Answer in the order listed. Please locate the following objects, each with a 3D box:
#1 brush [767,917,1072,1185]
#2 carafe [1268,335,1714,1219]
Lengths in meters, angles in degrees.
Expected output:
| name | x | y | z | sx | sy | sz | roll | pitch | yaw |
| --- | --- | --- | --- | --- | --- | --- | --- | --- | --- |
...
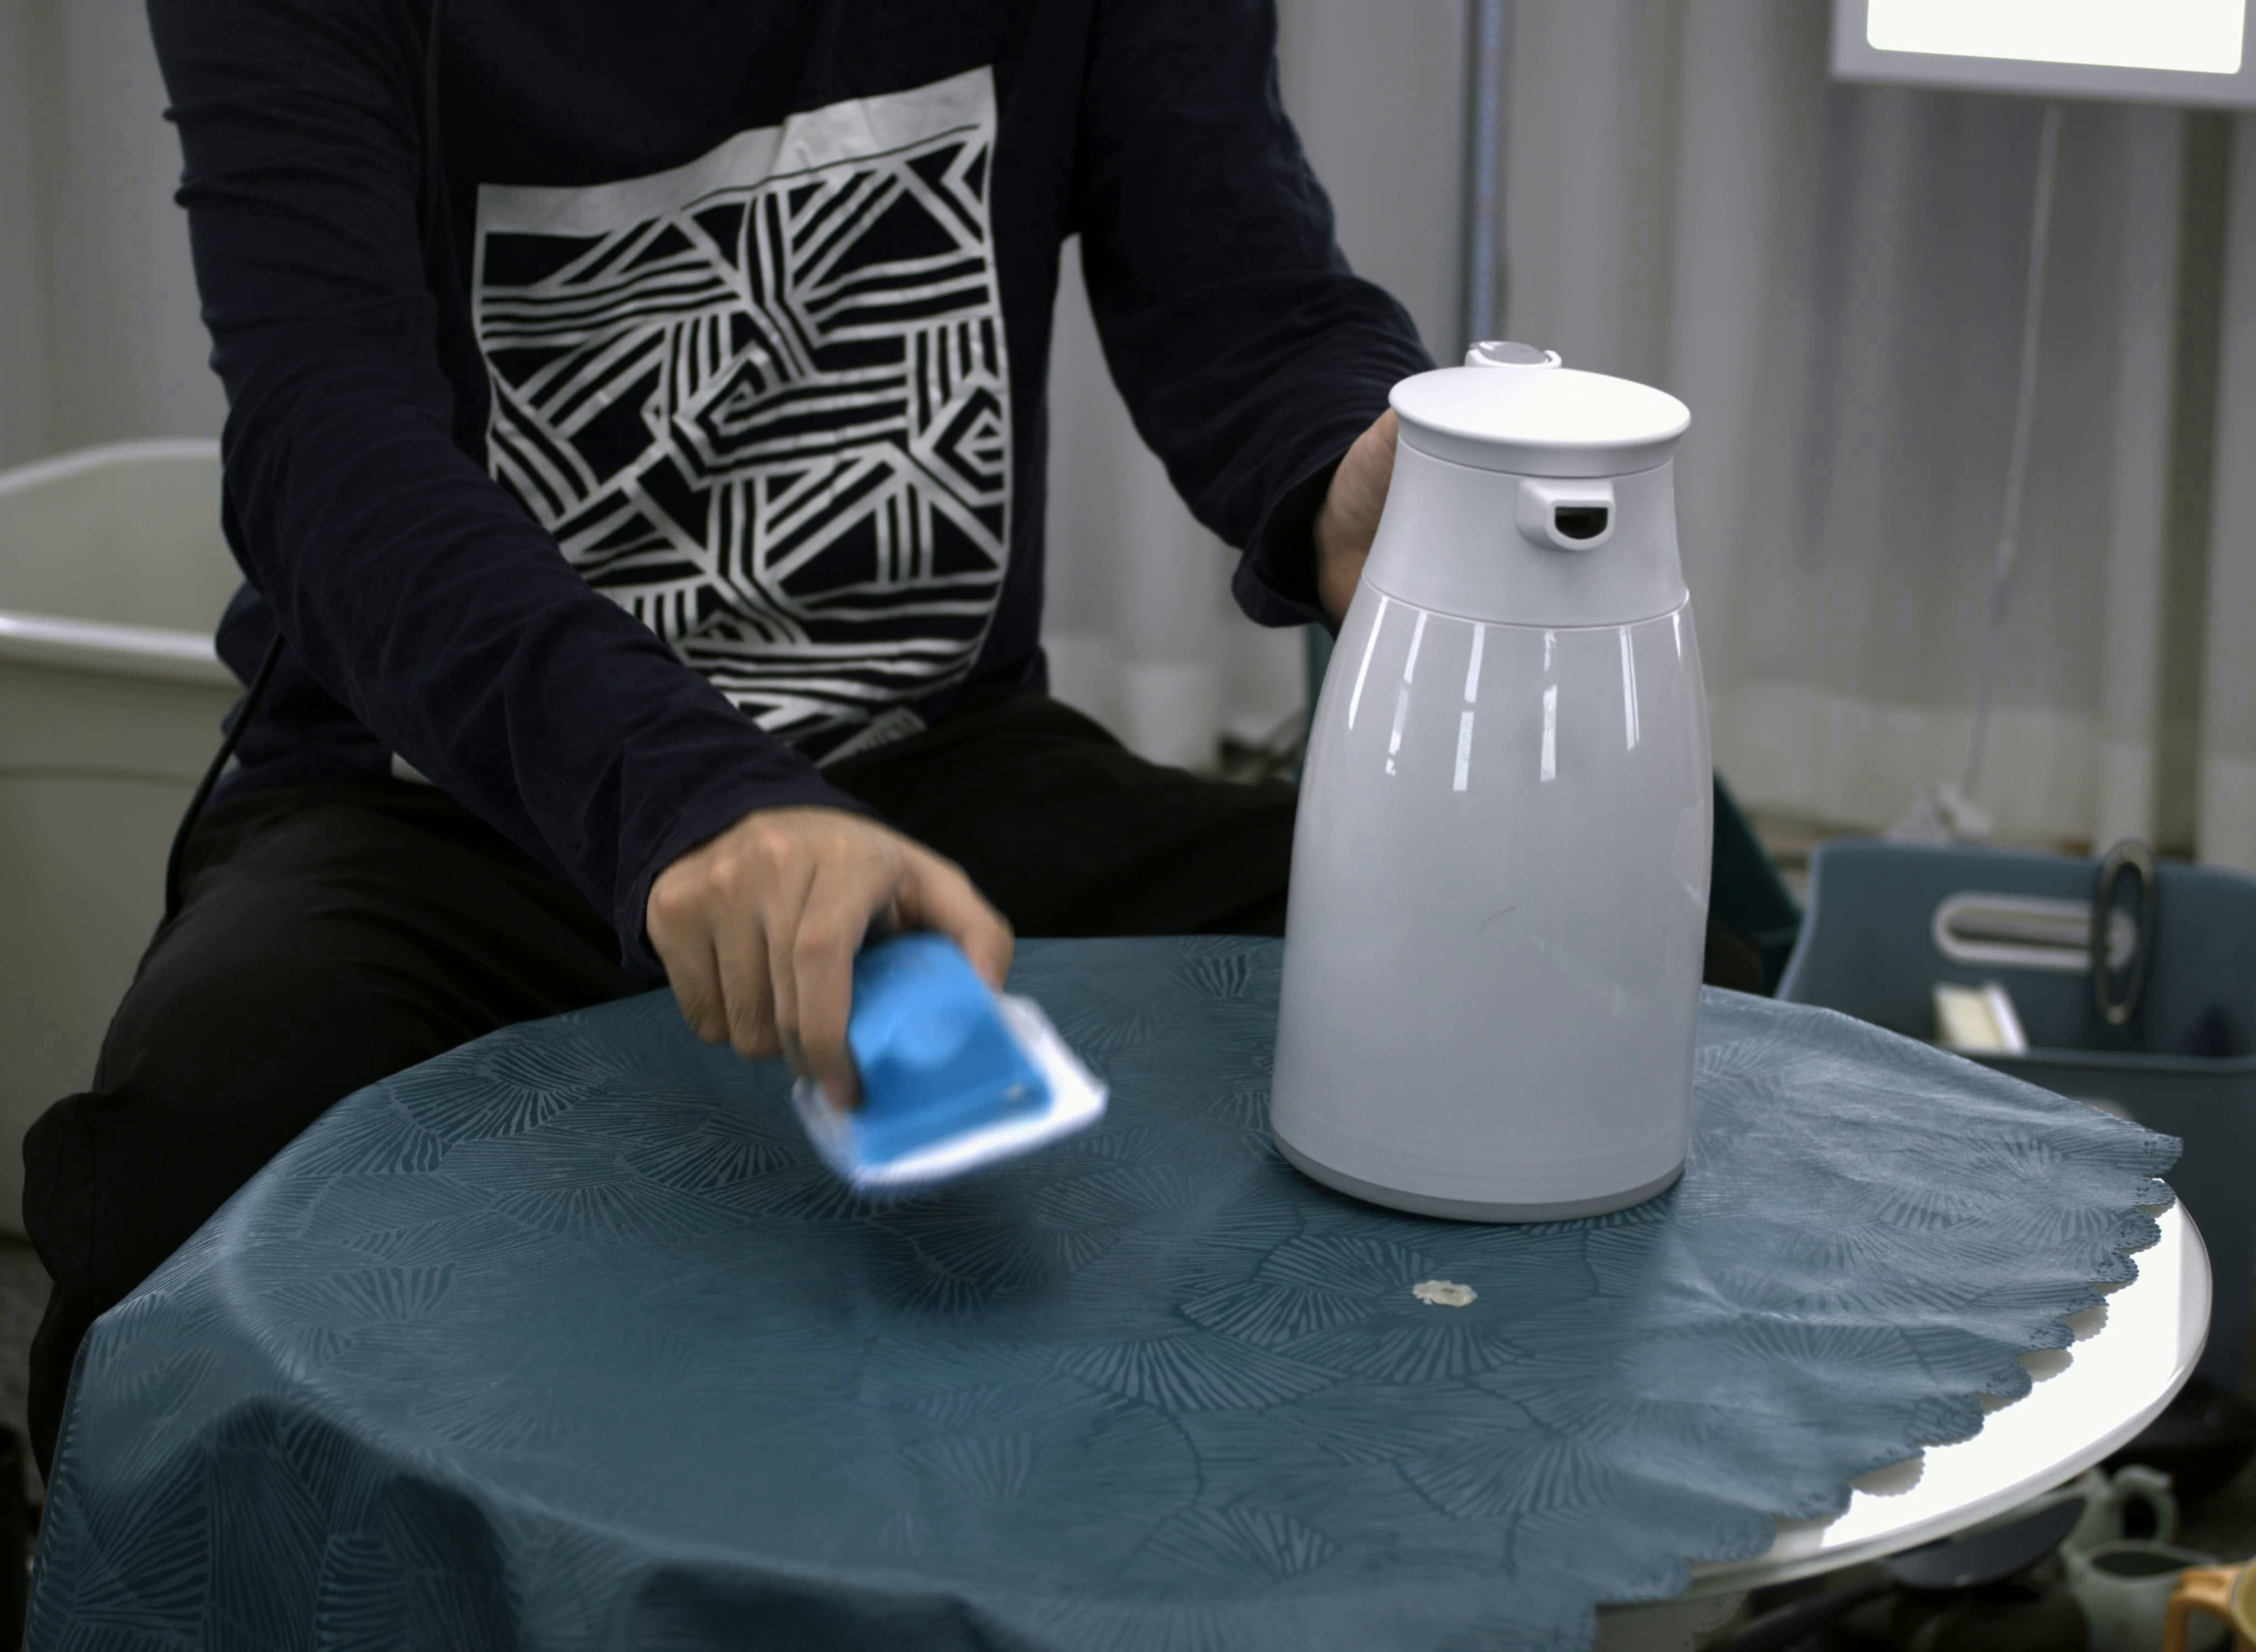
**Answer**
| name | x | y | z | sx | sy | sz | roll | pitch | yaw |
| --- | --- | --- | --- | --- | --- | --- | --- | --- | --- |
| brush | -0.065 | 0.065 | 1.571 | 0.084 | 0.056 | 0.143 | -13 | 16 | -7 |
| carafe | 0.112 | -0.024 | 1.634 | 0.132 | 0.251 | 0.166 | -1 | 19 | -12 |
